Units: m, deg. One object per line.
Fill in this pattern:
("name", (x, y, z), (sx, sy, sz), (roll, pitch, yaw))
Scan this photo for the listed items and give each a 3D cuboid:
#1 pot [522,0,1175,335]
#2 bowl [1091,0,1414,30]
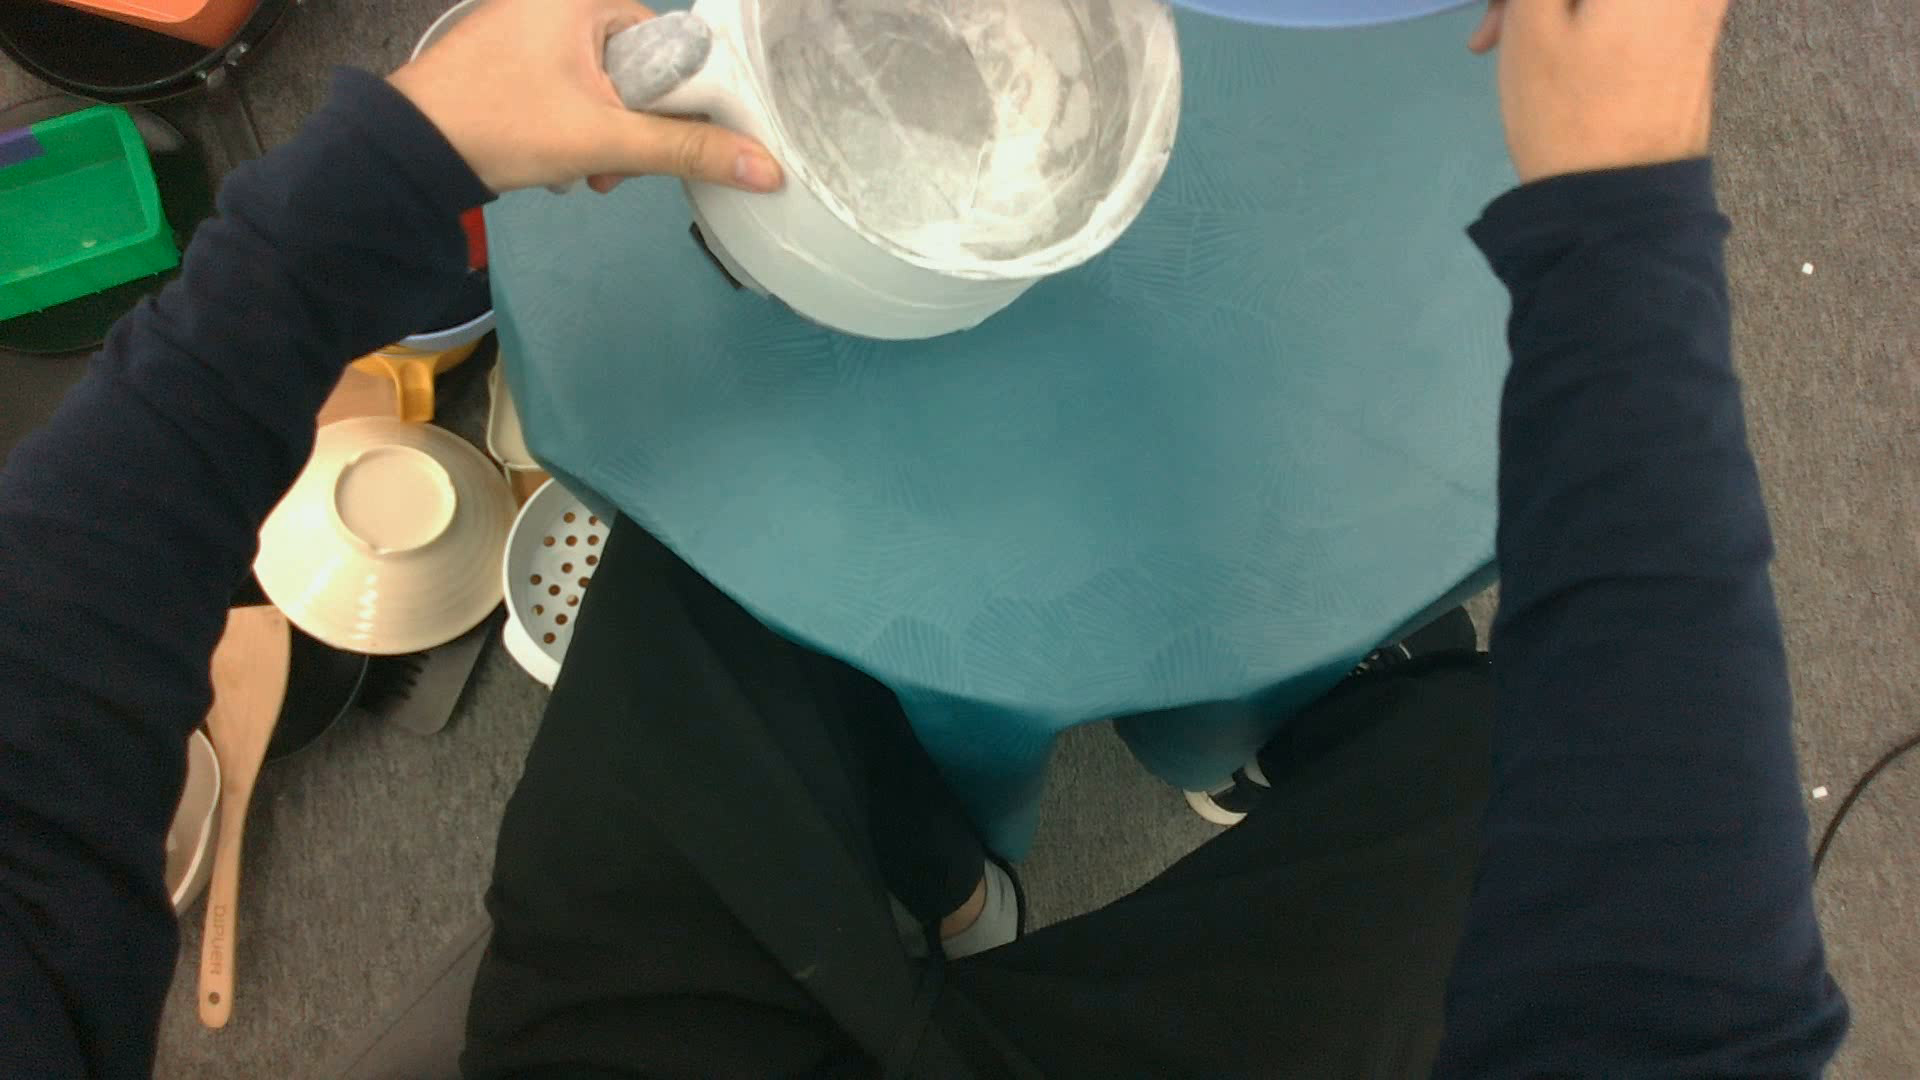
("pot", (-0.047, -0.174, 0.545), (0.234, 0.136, 0.179), (-11, 87, -26))
("bowl", (0.091, -0.252, 0.424), (0.196, 0.196, 0.095), (9, 80, -4))
